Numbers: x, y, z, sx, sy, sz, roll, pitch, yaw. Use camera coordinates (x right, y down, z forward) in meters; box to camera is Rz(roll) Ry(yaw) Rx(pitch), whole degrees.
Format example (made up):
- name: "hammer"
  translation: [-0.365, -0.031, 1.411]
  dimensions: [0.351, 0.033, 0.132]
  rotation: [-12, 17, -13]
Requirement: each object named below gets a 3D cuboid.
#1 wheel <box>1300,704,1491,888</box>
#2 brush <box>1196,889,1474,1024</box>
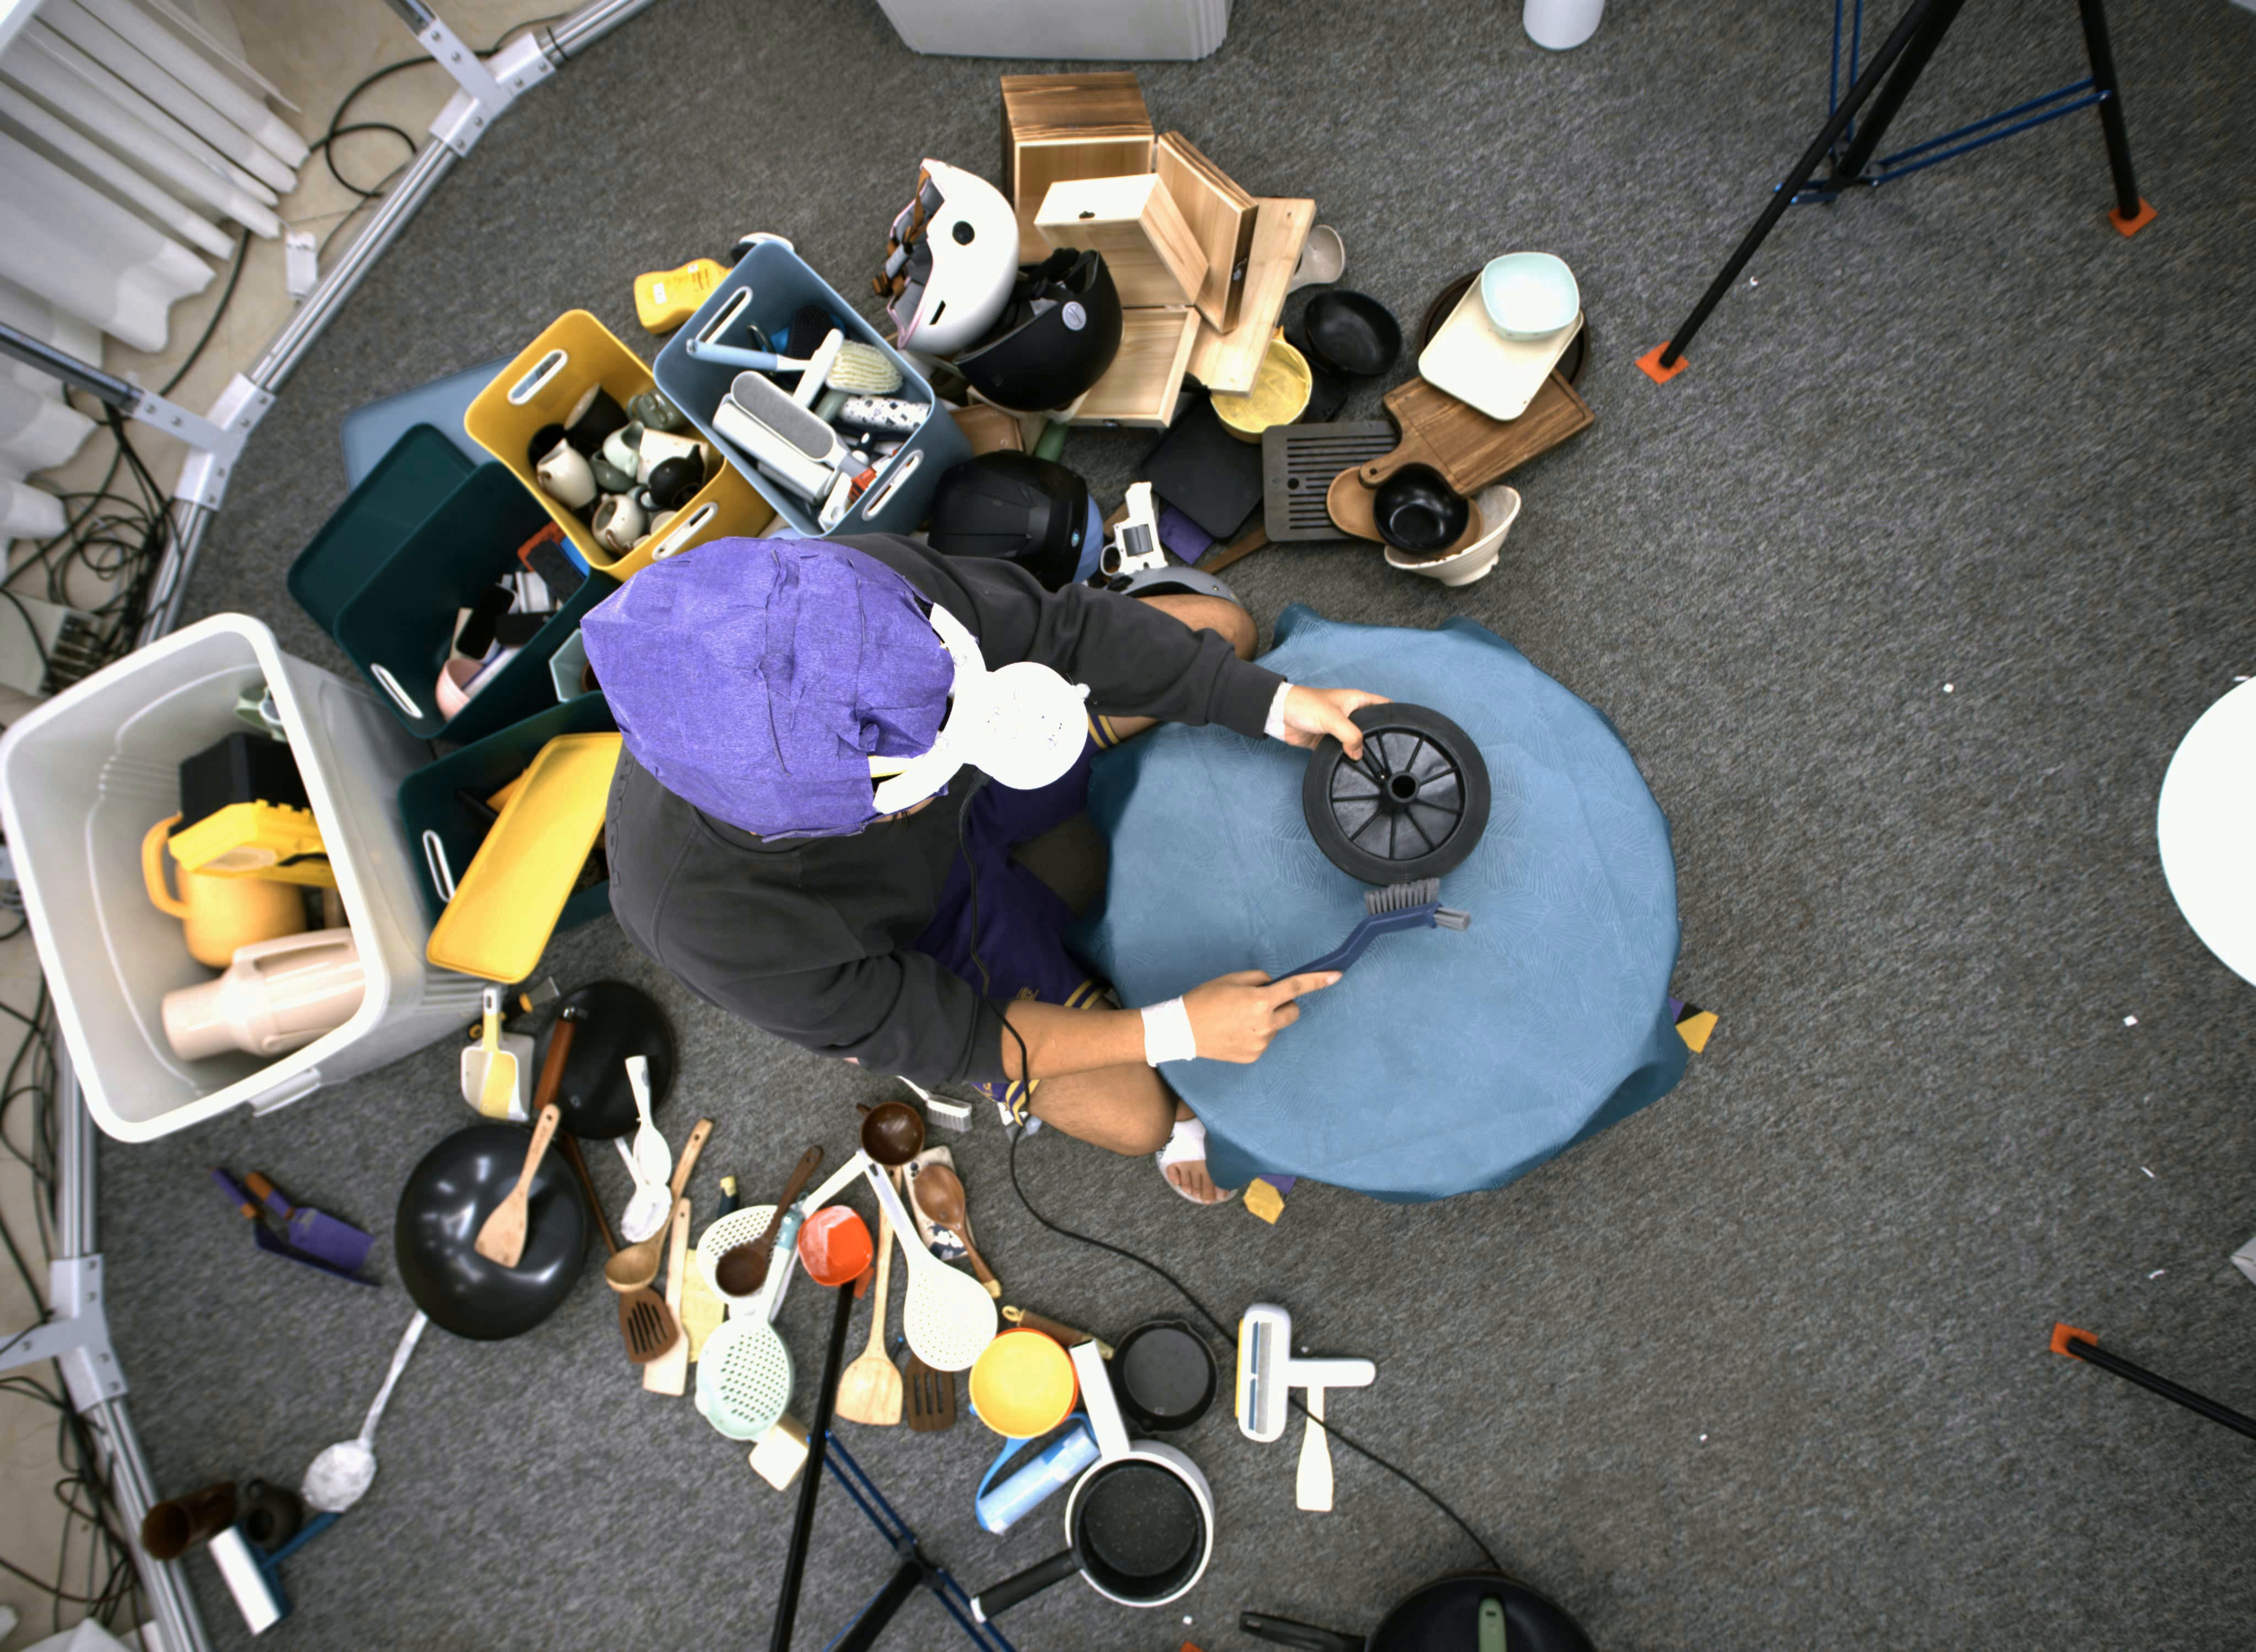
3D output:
- name: "wheel"
  translation: [0.267, -0.035, 1.367]
  dimensions: [0.189, 0.079, 0.187]
  rotation: [32, 90, 7]
- name: "brush"
  translation: [0.199, 0.141, 1.359]
  dimensions: [0.274, 0.034, 0.094]
  rotation: [-33, 54, 7]
